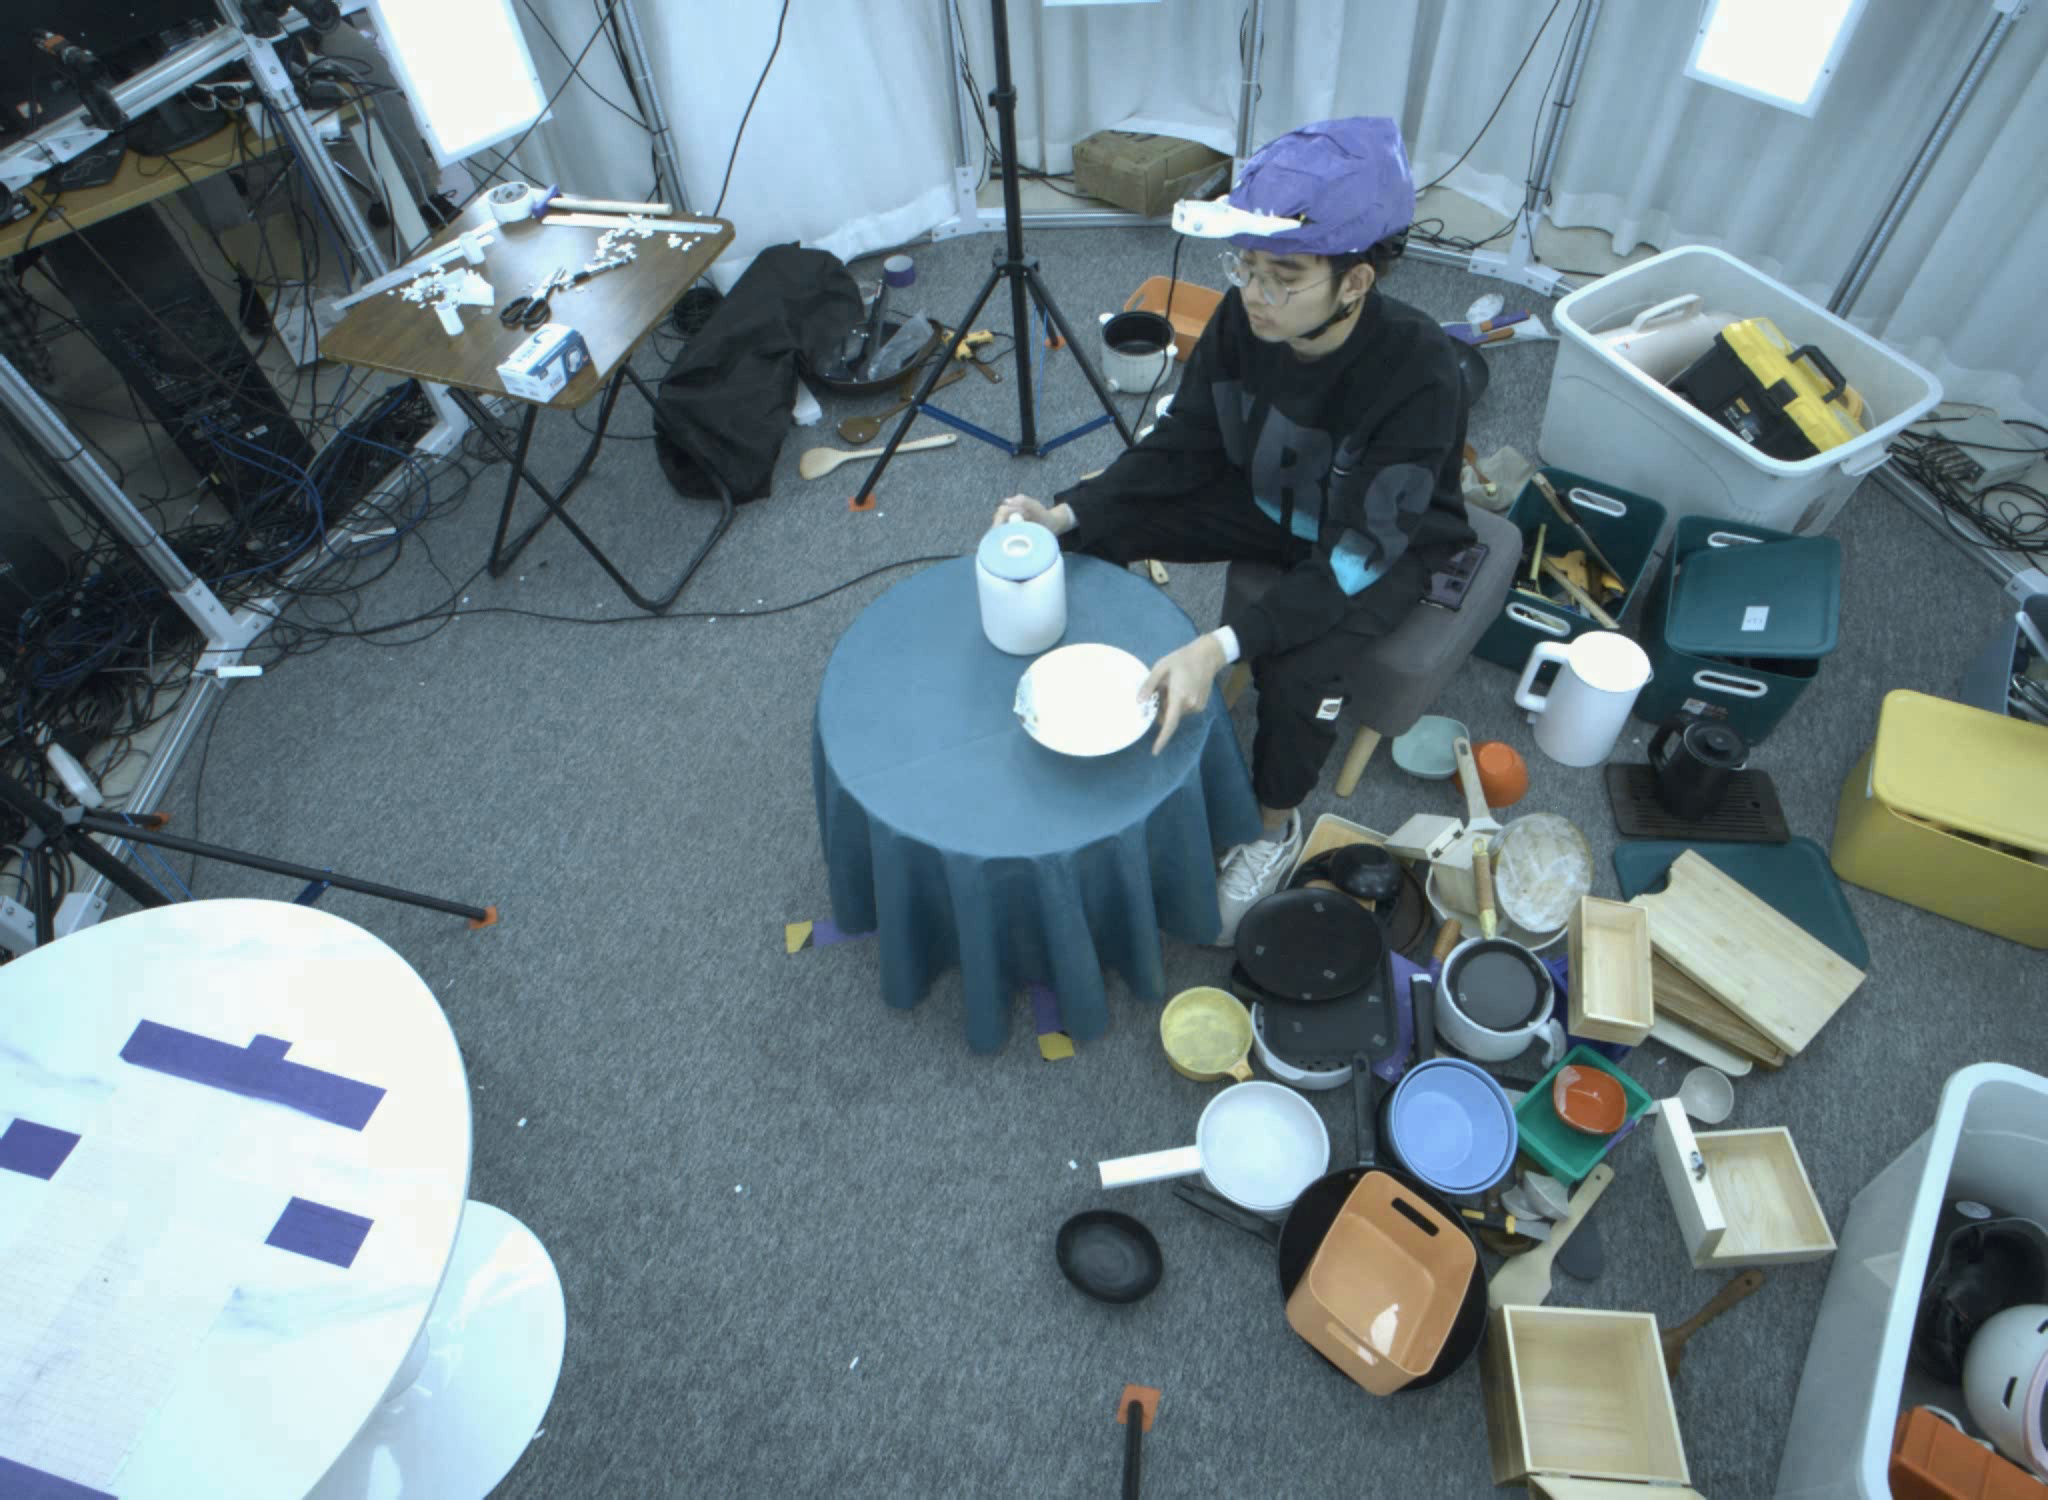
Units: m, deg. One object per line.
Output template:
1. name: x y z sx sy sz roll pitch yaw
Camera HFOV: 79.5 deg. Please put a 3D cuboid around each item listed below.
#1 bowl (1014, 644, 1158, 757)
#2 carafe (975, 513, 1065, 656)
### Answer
1. bowl: 0.088 -0.052 1.770 0.204 0.078 0.202 1 54 0
2. carafe: -0.008 -0.263 1.865 0.132 0.184 0.188 -6 52 -2
